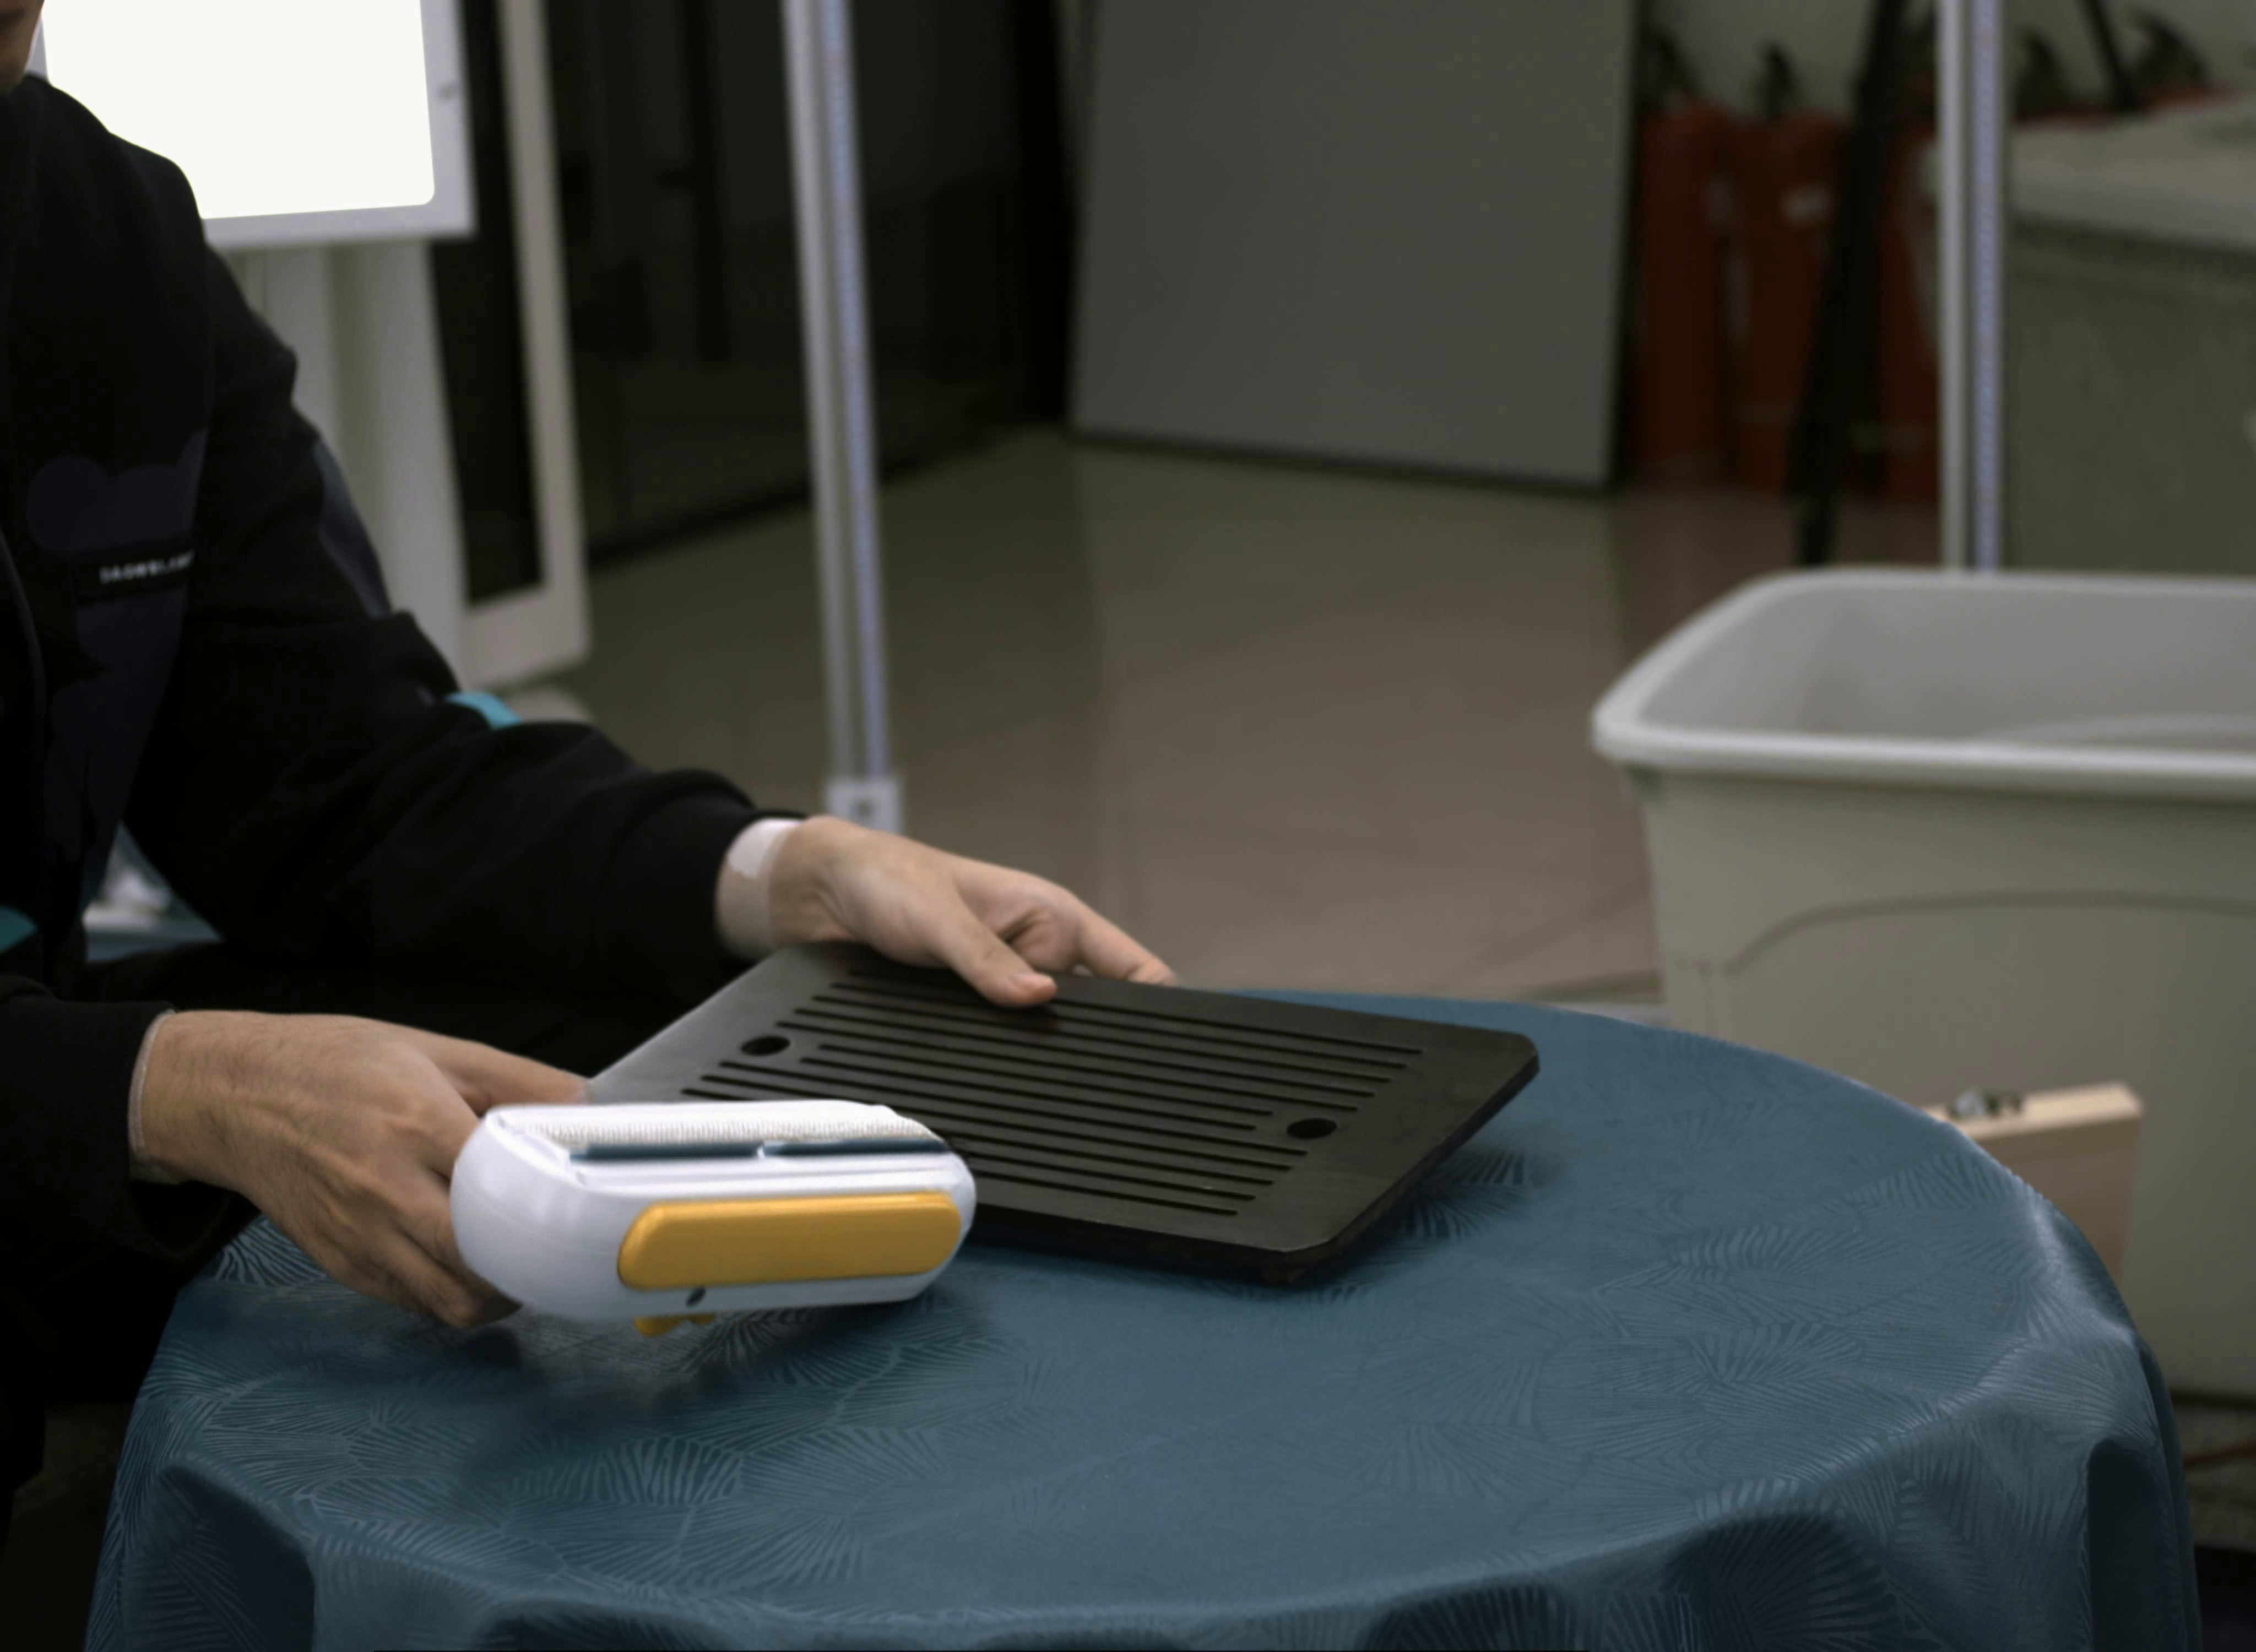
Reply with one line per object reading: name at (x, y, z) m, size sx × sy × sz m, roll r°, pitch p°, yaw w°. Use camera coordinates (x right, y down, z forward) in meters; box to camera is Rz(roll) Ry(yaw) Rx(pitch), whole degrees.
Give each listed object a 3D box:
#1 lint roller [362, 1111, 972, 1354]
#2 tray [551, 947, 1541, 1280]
lint roller at (-0.168, 0.110, 1.670) m, size 0.188 × 0.075 × 0.194 m, roll -4°, pitch 16°, yaw -44°
tray at (-0.028, 0.094, 1.803) m, size 0.307 × 0.019 × 0.168 m, roll 6°, pitch 24°, yaw 32°
